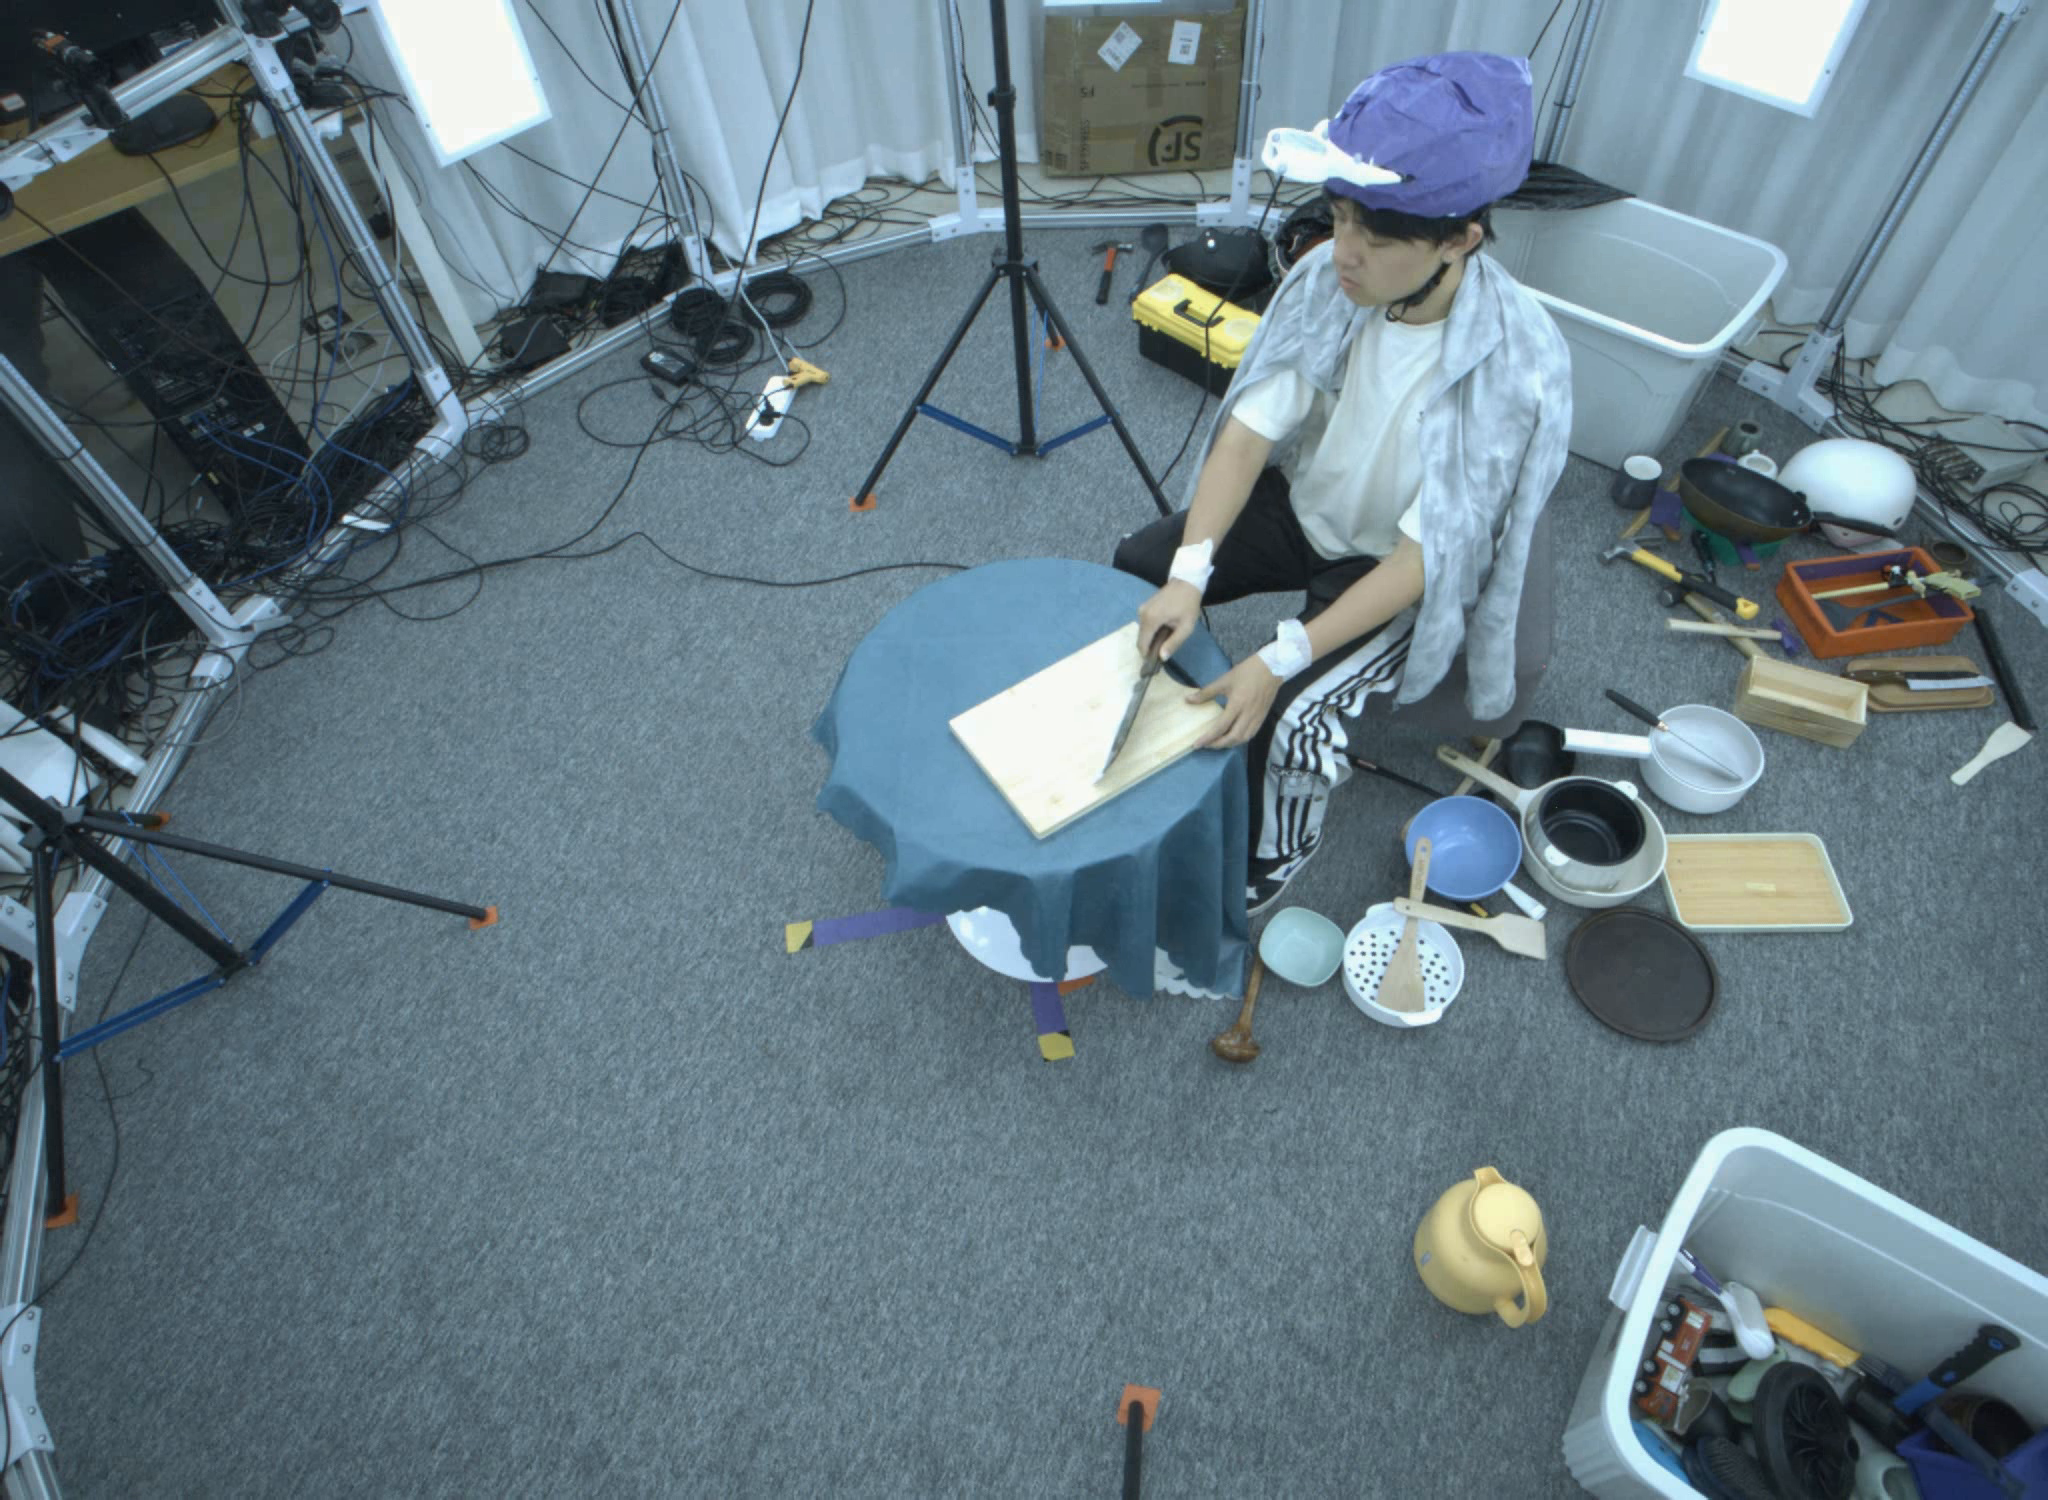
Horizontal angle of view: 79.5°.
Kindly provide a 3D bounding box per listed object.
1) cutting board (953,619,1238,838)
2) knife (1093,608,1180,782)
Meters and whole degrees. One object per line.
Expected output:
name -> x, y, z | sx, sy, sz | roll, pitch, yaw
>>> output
cutting board -> 0.101, -0.041, 1.805 | 0.351, 0.024, 0.246 | -30, 59, -18
knife -> 0.161, -0.082, 1.777 | 0.024, 0.067, 0.299 | 32, 62, -15
